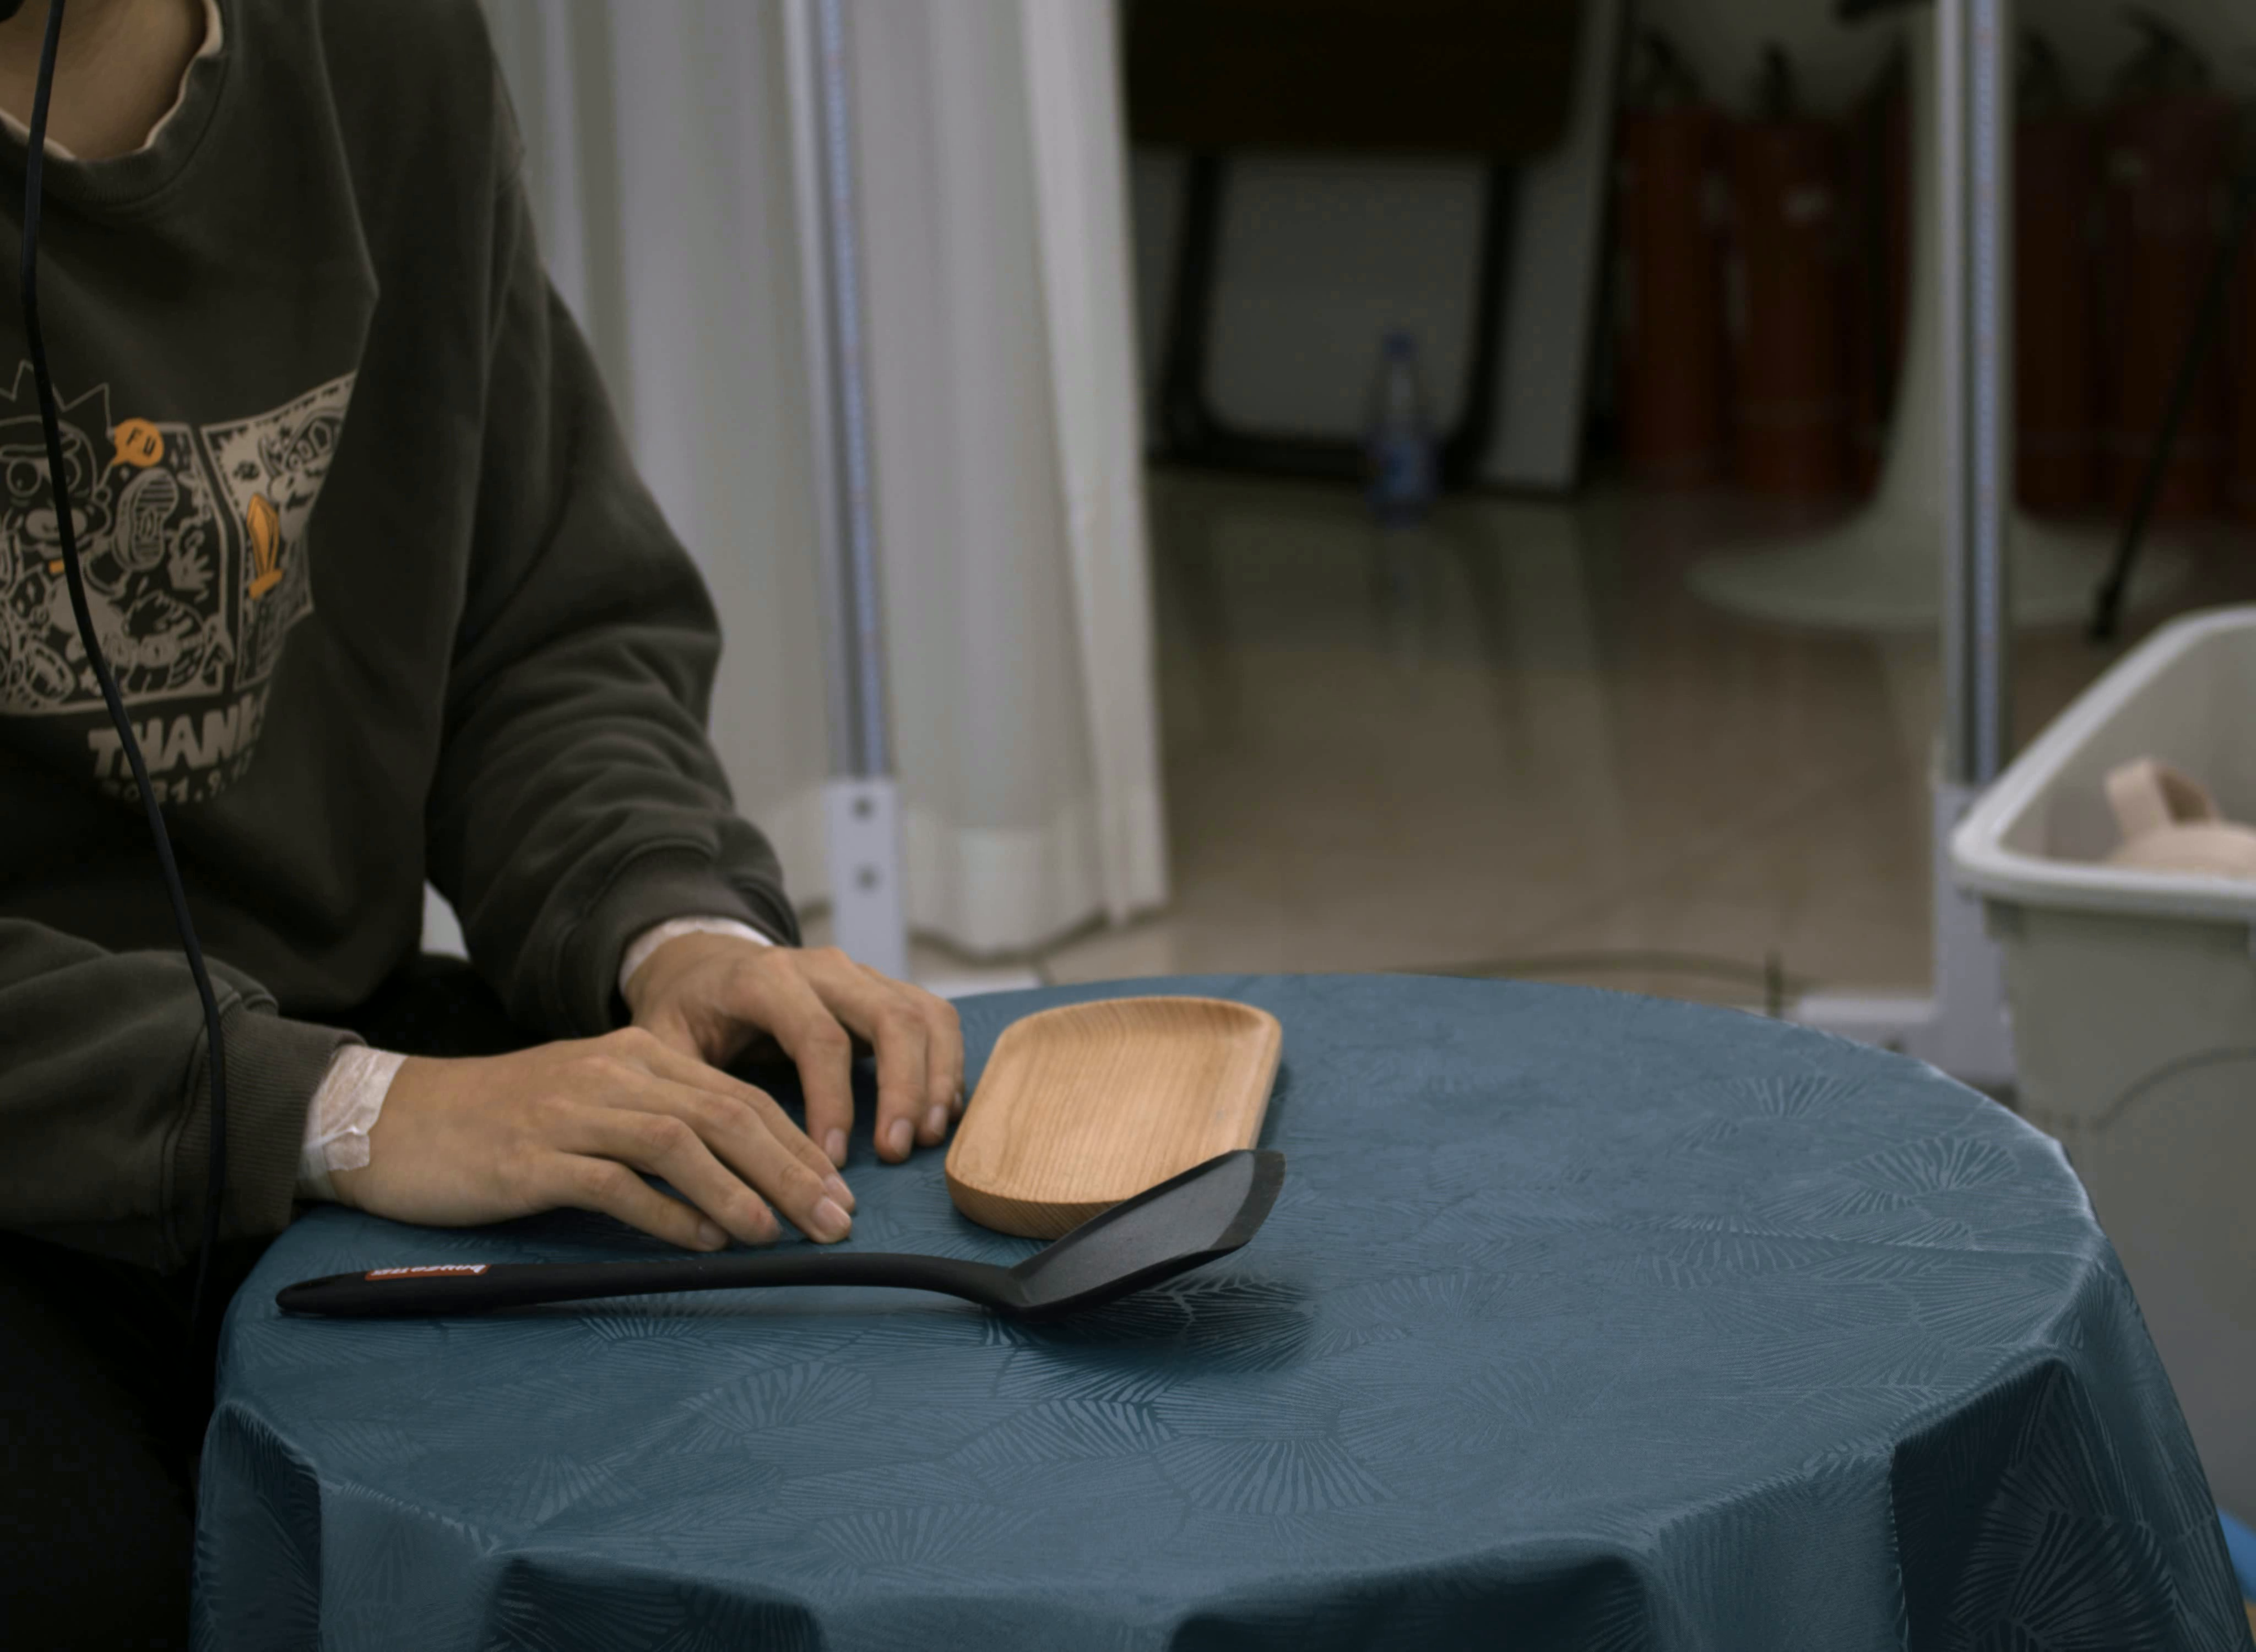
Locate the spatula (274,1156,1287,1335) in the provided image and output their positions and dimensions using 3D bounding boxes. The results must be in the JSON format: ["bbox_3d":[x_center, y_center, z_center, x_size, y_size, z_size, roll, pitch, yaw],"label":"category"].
[{"bbox_3d":[-0.110,0.135,1.676,0.324,0.041,0.099,-1,12,11],"label":"spatula"}]

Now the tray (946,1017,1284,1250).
[{"bbox_3d":[-0.002,0.102,1.826,0.101,0.020,0.230,-3,15,7],"label":"tray"}]
